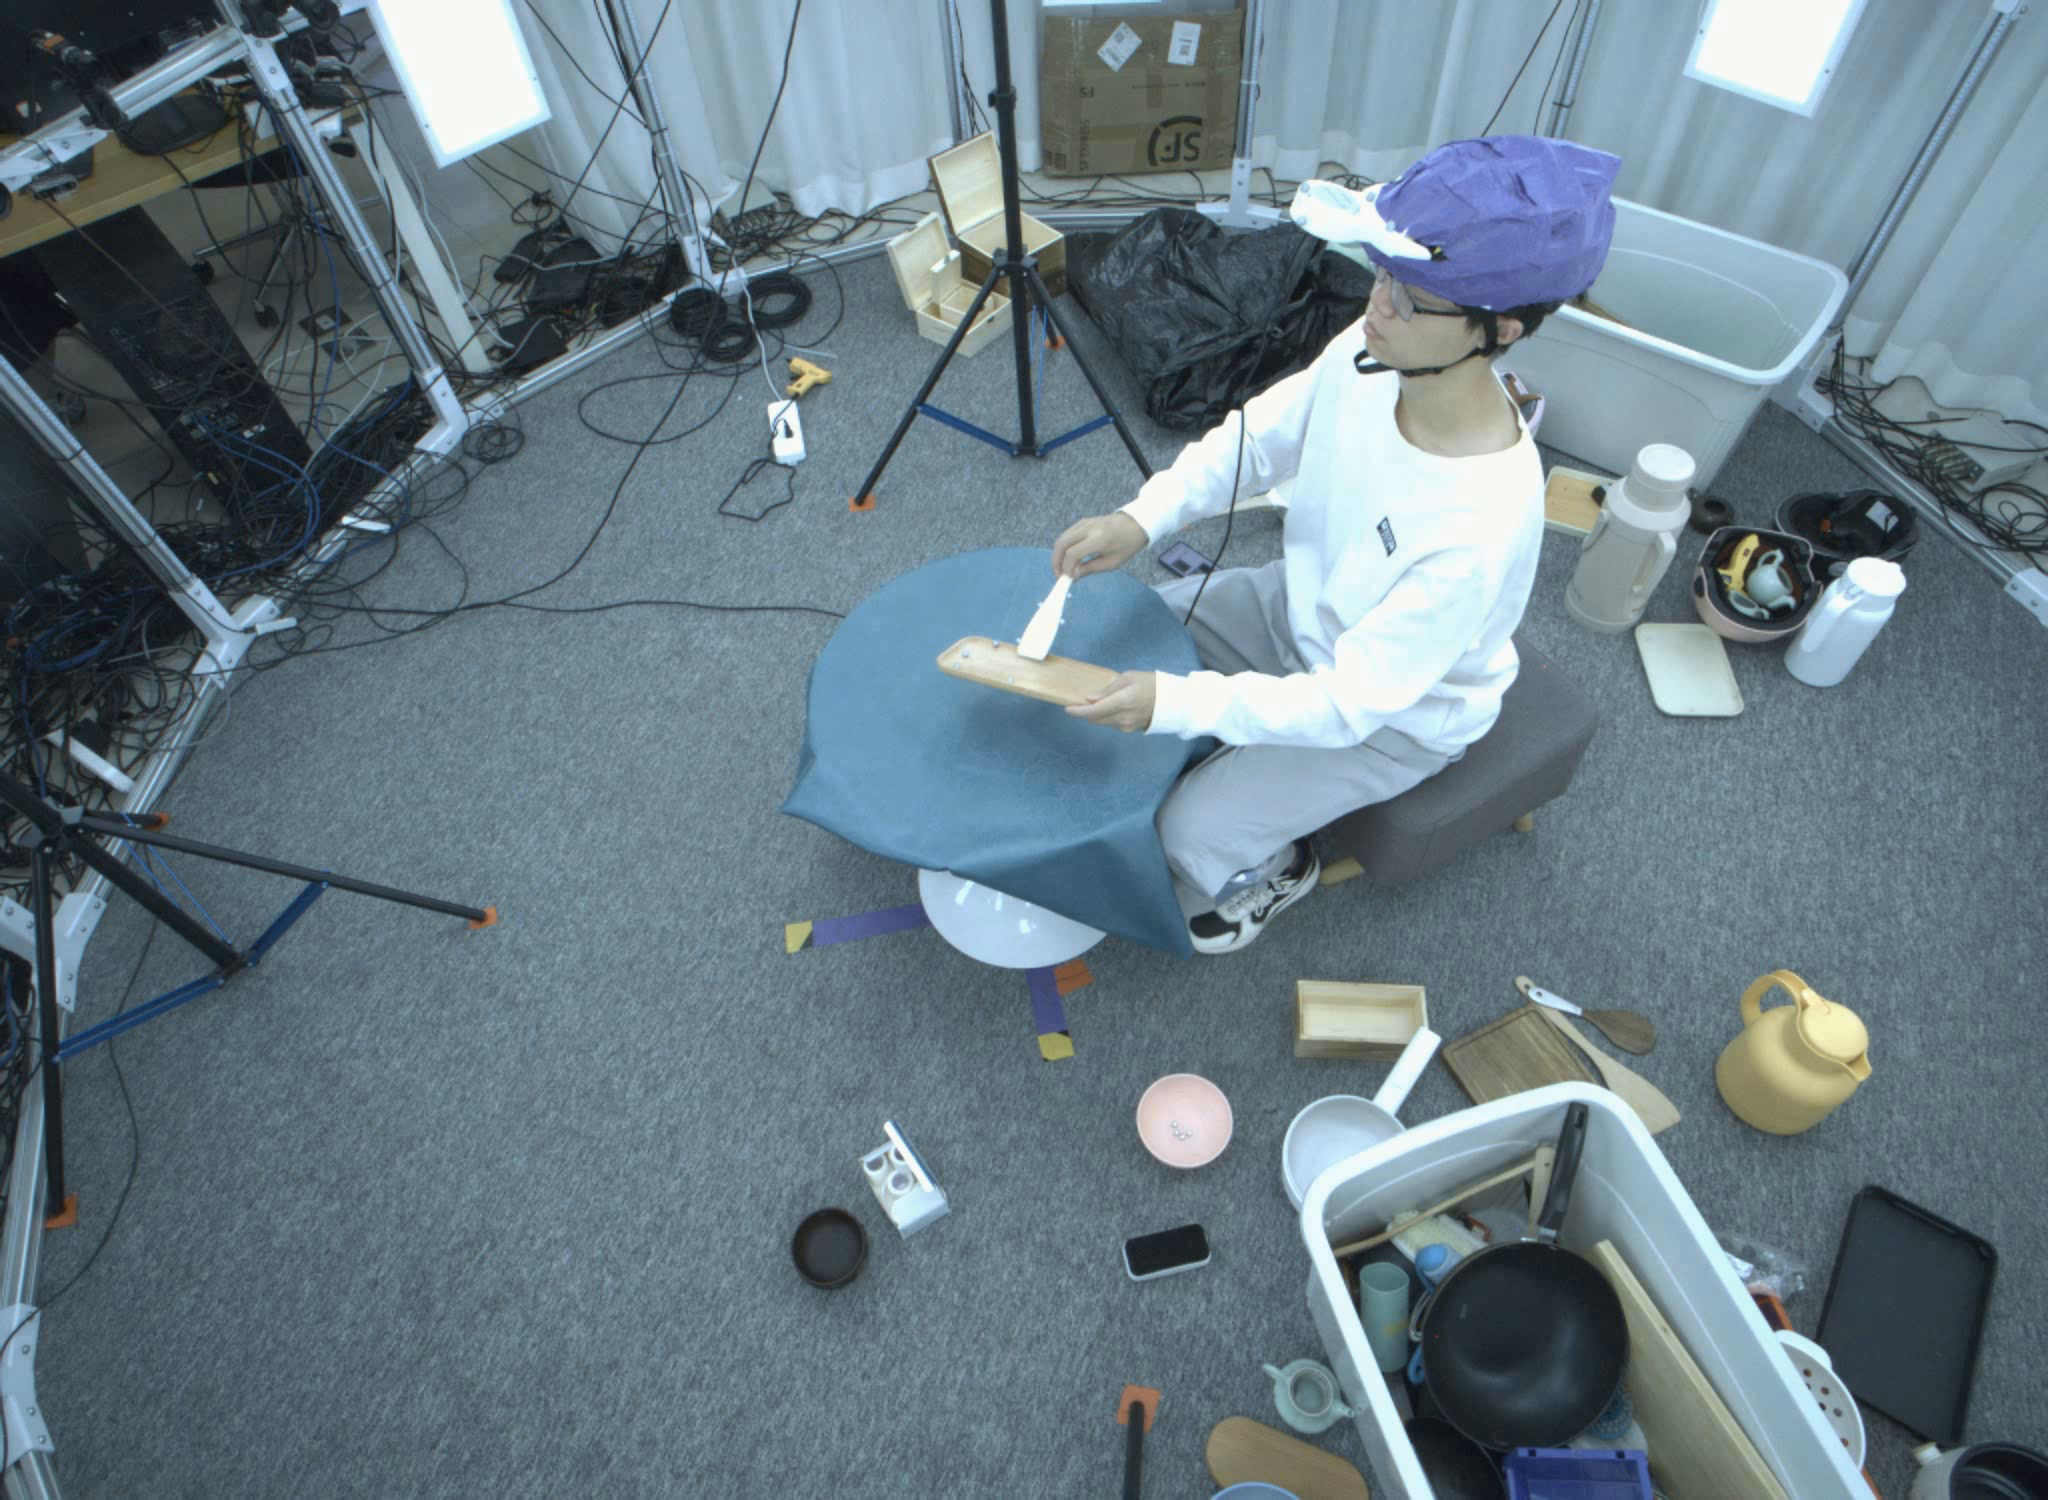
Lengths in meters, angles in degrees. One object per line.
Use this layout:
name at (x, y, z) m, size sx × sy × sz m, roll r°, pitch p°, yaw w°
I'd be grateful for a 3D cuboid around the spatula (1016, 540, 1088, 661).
spatula at (0.046, -0.221, 1.787) m, size 0.049 × 0.005 × 0.207 m, roll 15°, pitch 71°, yaw 27°

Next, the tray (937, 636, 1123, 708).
tray at (0.008, -0.111, 1.729) m, size 0.247 × 0.023 × 0.131 m, roll 16°, pitch 32°, yaw 16°
